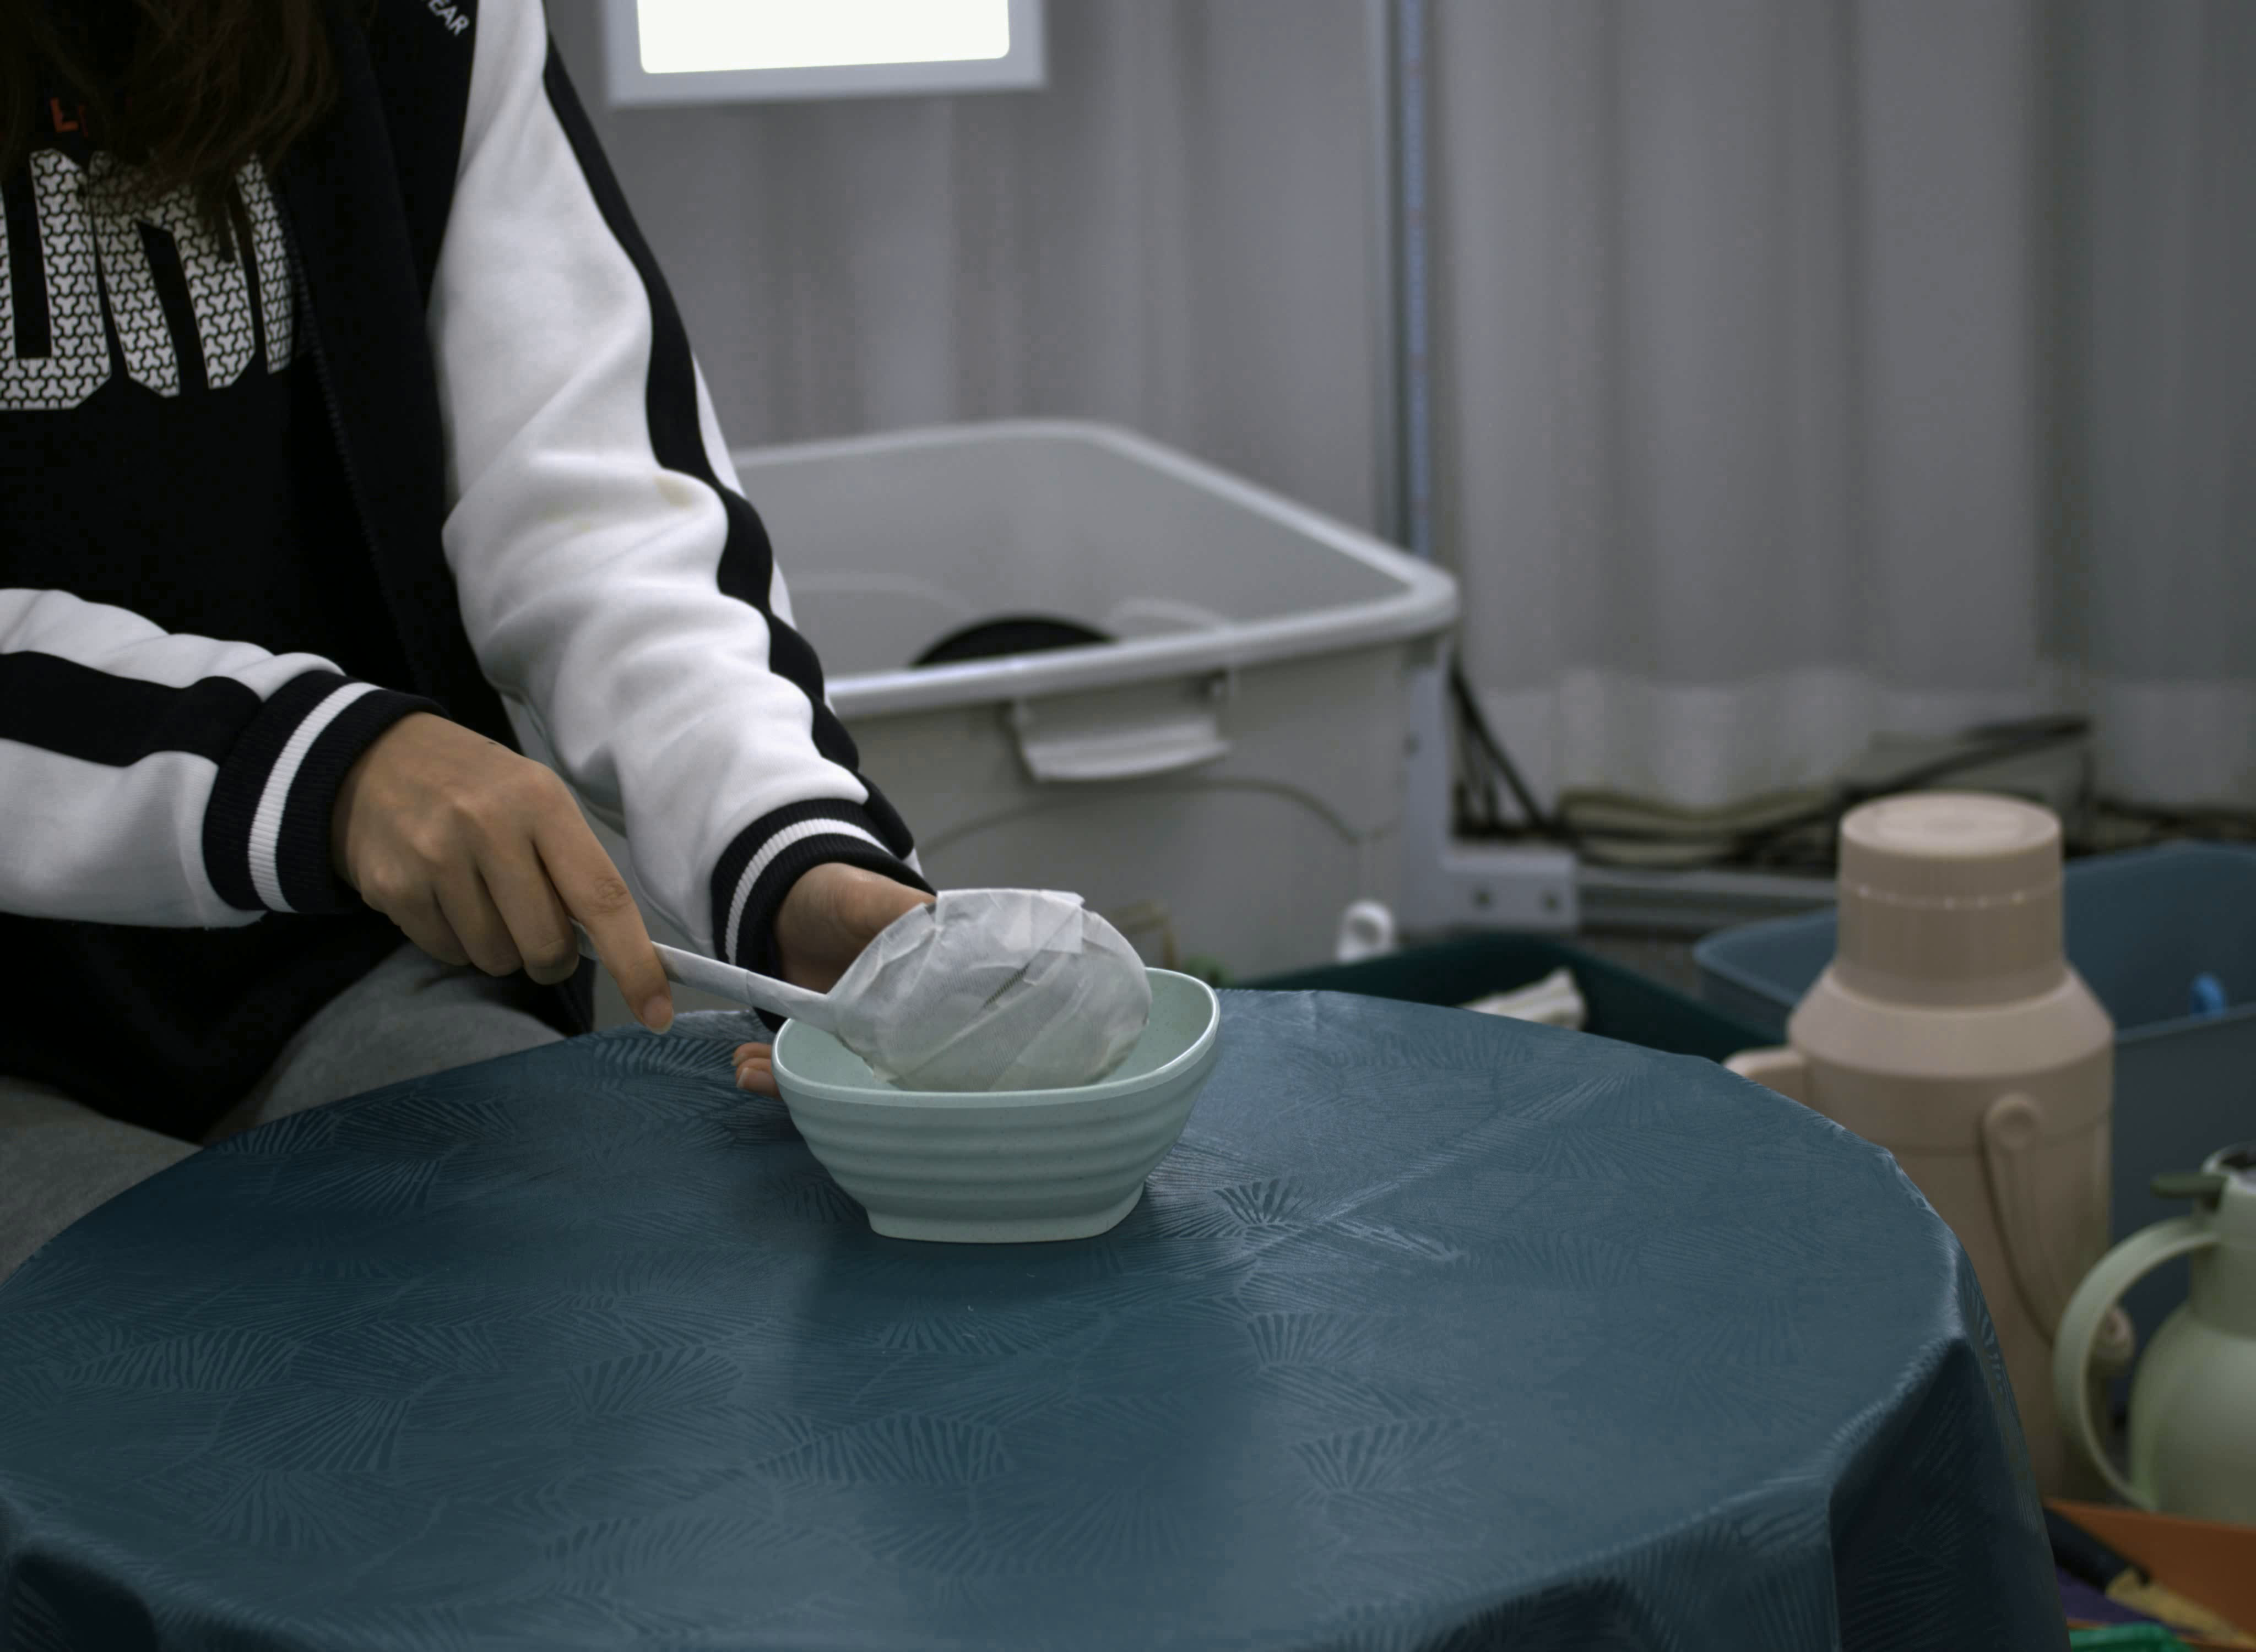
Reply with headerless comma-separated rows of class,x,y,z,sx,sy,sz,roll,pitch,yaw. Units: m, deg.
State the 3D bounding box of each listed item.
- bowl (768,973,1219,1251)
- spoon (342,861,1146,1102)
bowl,-0.040,0.091,1.706,0.151,0.058,0.152,-2,15,0
spoon,-0.124,0.035,1.726,0.278,0.099,0.060,14,42,31
